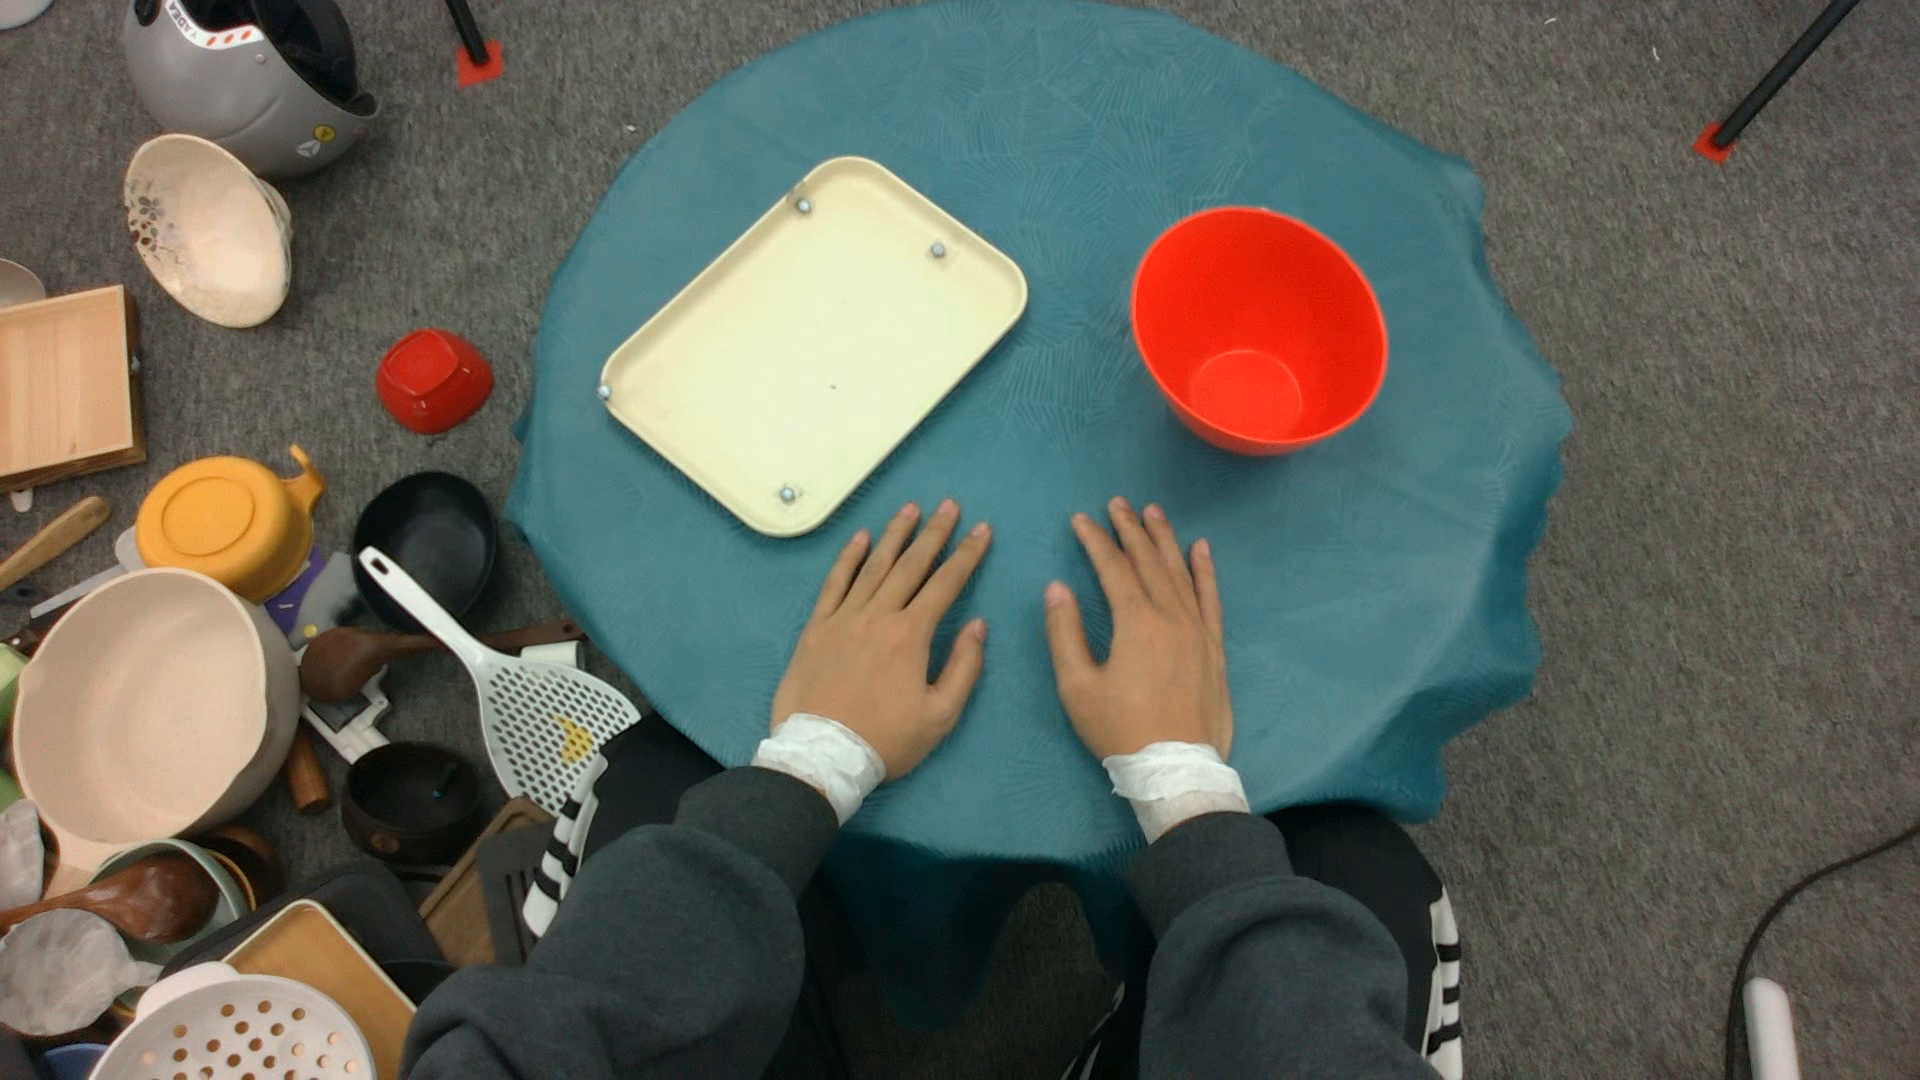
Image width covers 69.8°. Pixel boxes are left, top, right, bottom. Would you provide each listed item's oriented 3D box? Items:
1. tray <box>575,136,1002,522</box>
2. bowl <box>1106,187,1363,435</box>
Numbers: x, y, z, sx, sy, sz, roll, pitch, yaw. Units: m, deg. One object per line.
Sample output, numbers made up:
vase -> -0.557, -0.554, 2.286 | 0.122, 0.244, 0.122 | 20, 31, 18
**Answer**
tray -> -0.101, -0.133, 0.841 | 0.171, 0.017, 0.240 | 38, 72, 11
bowl -> 0.152, -0.118, 0.801 | 0.148, 0.104, 0.148 | 1, 67, -1
